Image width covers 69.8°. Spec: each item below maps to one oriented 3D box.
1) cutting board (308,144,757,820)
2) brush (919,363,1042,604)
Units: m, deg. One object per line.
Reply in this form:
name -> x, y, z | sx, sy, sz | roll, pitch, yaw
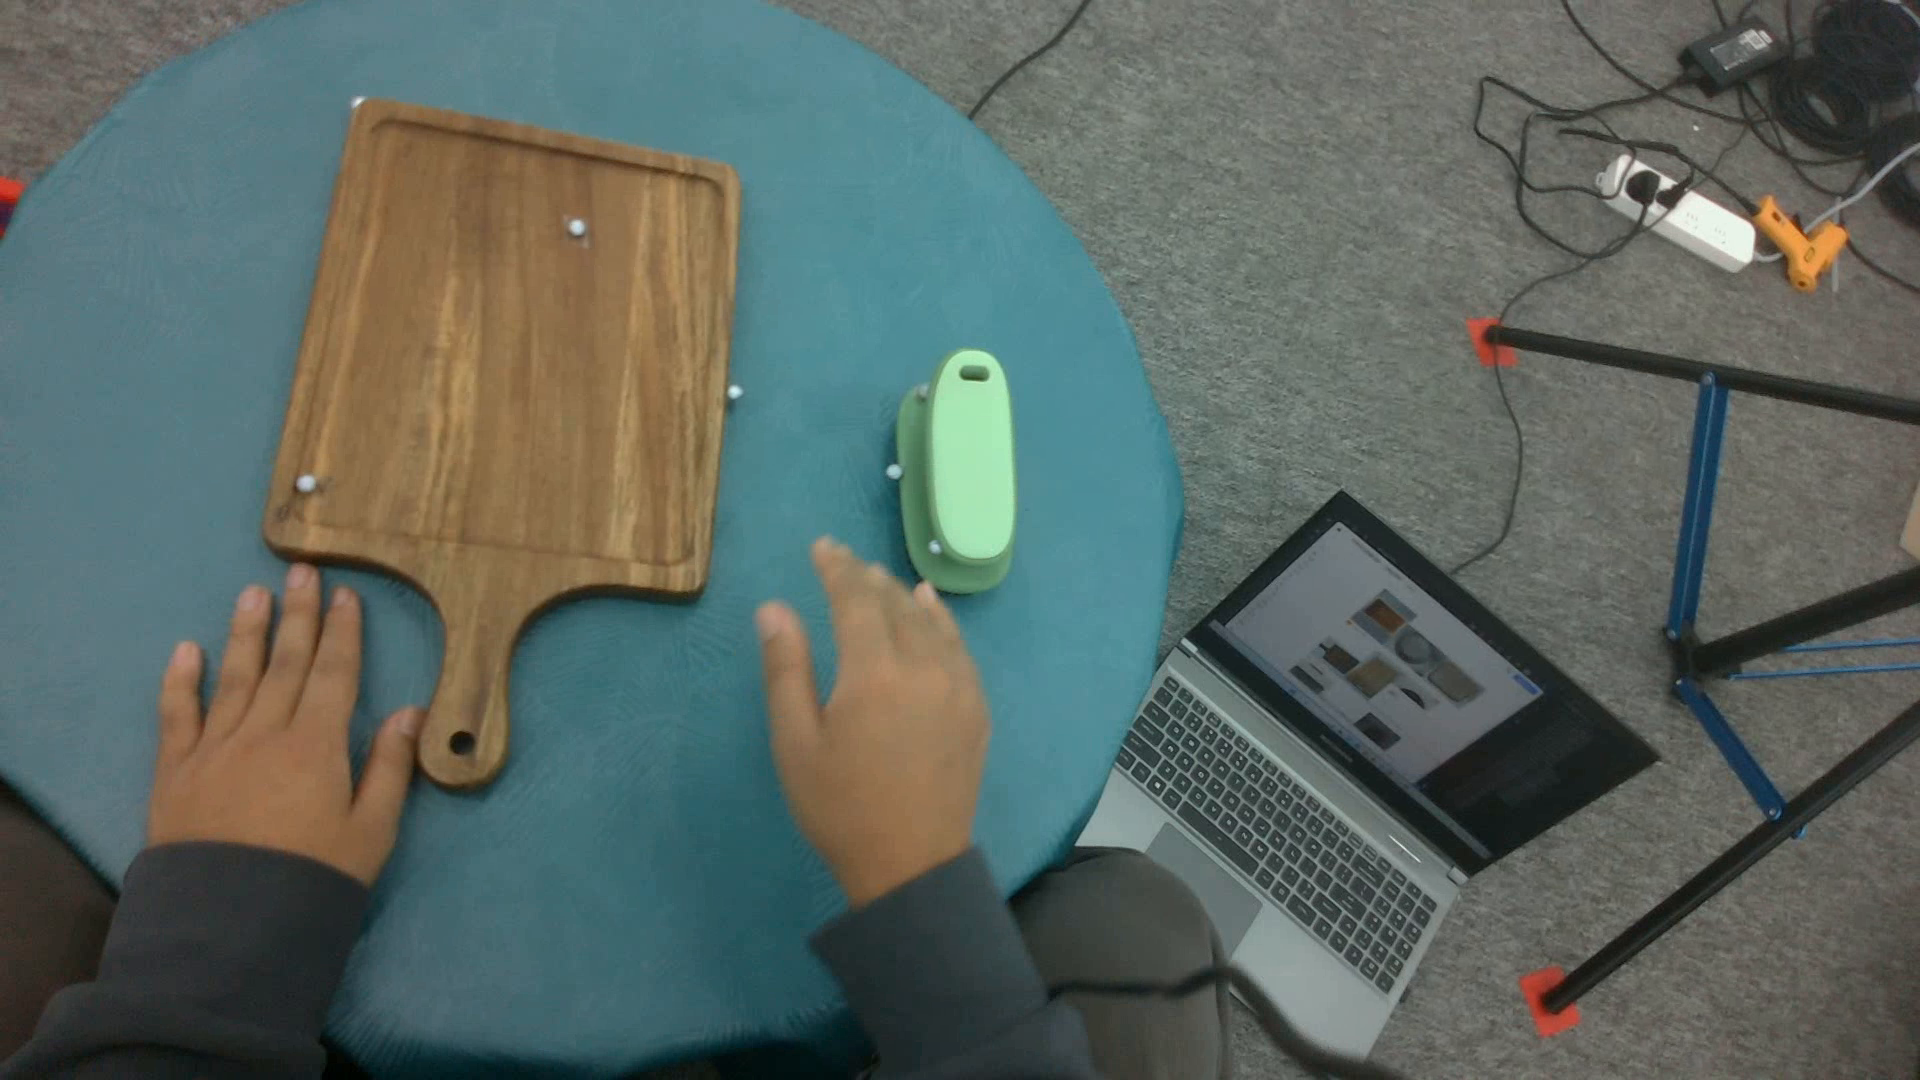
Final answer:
cutting board -> -0.209, -0.038, 0.690 | 0.201, 0.023, 0.353 | 6, 68, -13
brush -> 0.011, -0.026, 0.730 | 0.060, 0.075, 0.123 | -2, 84, -16
